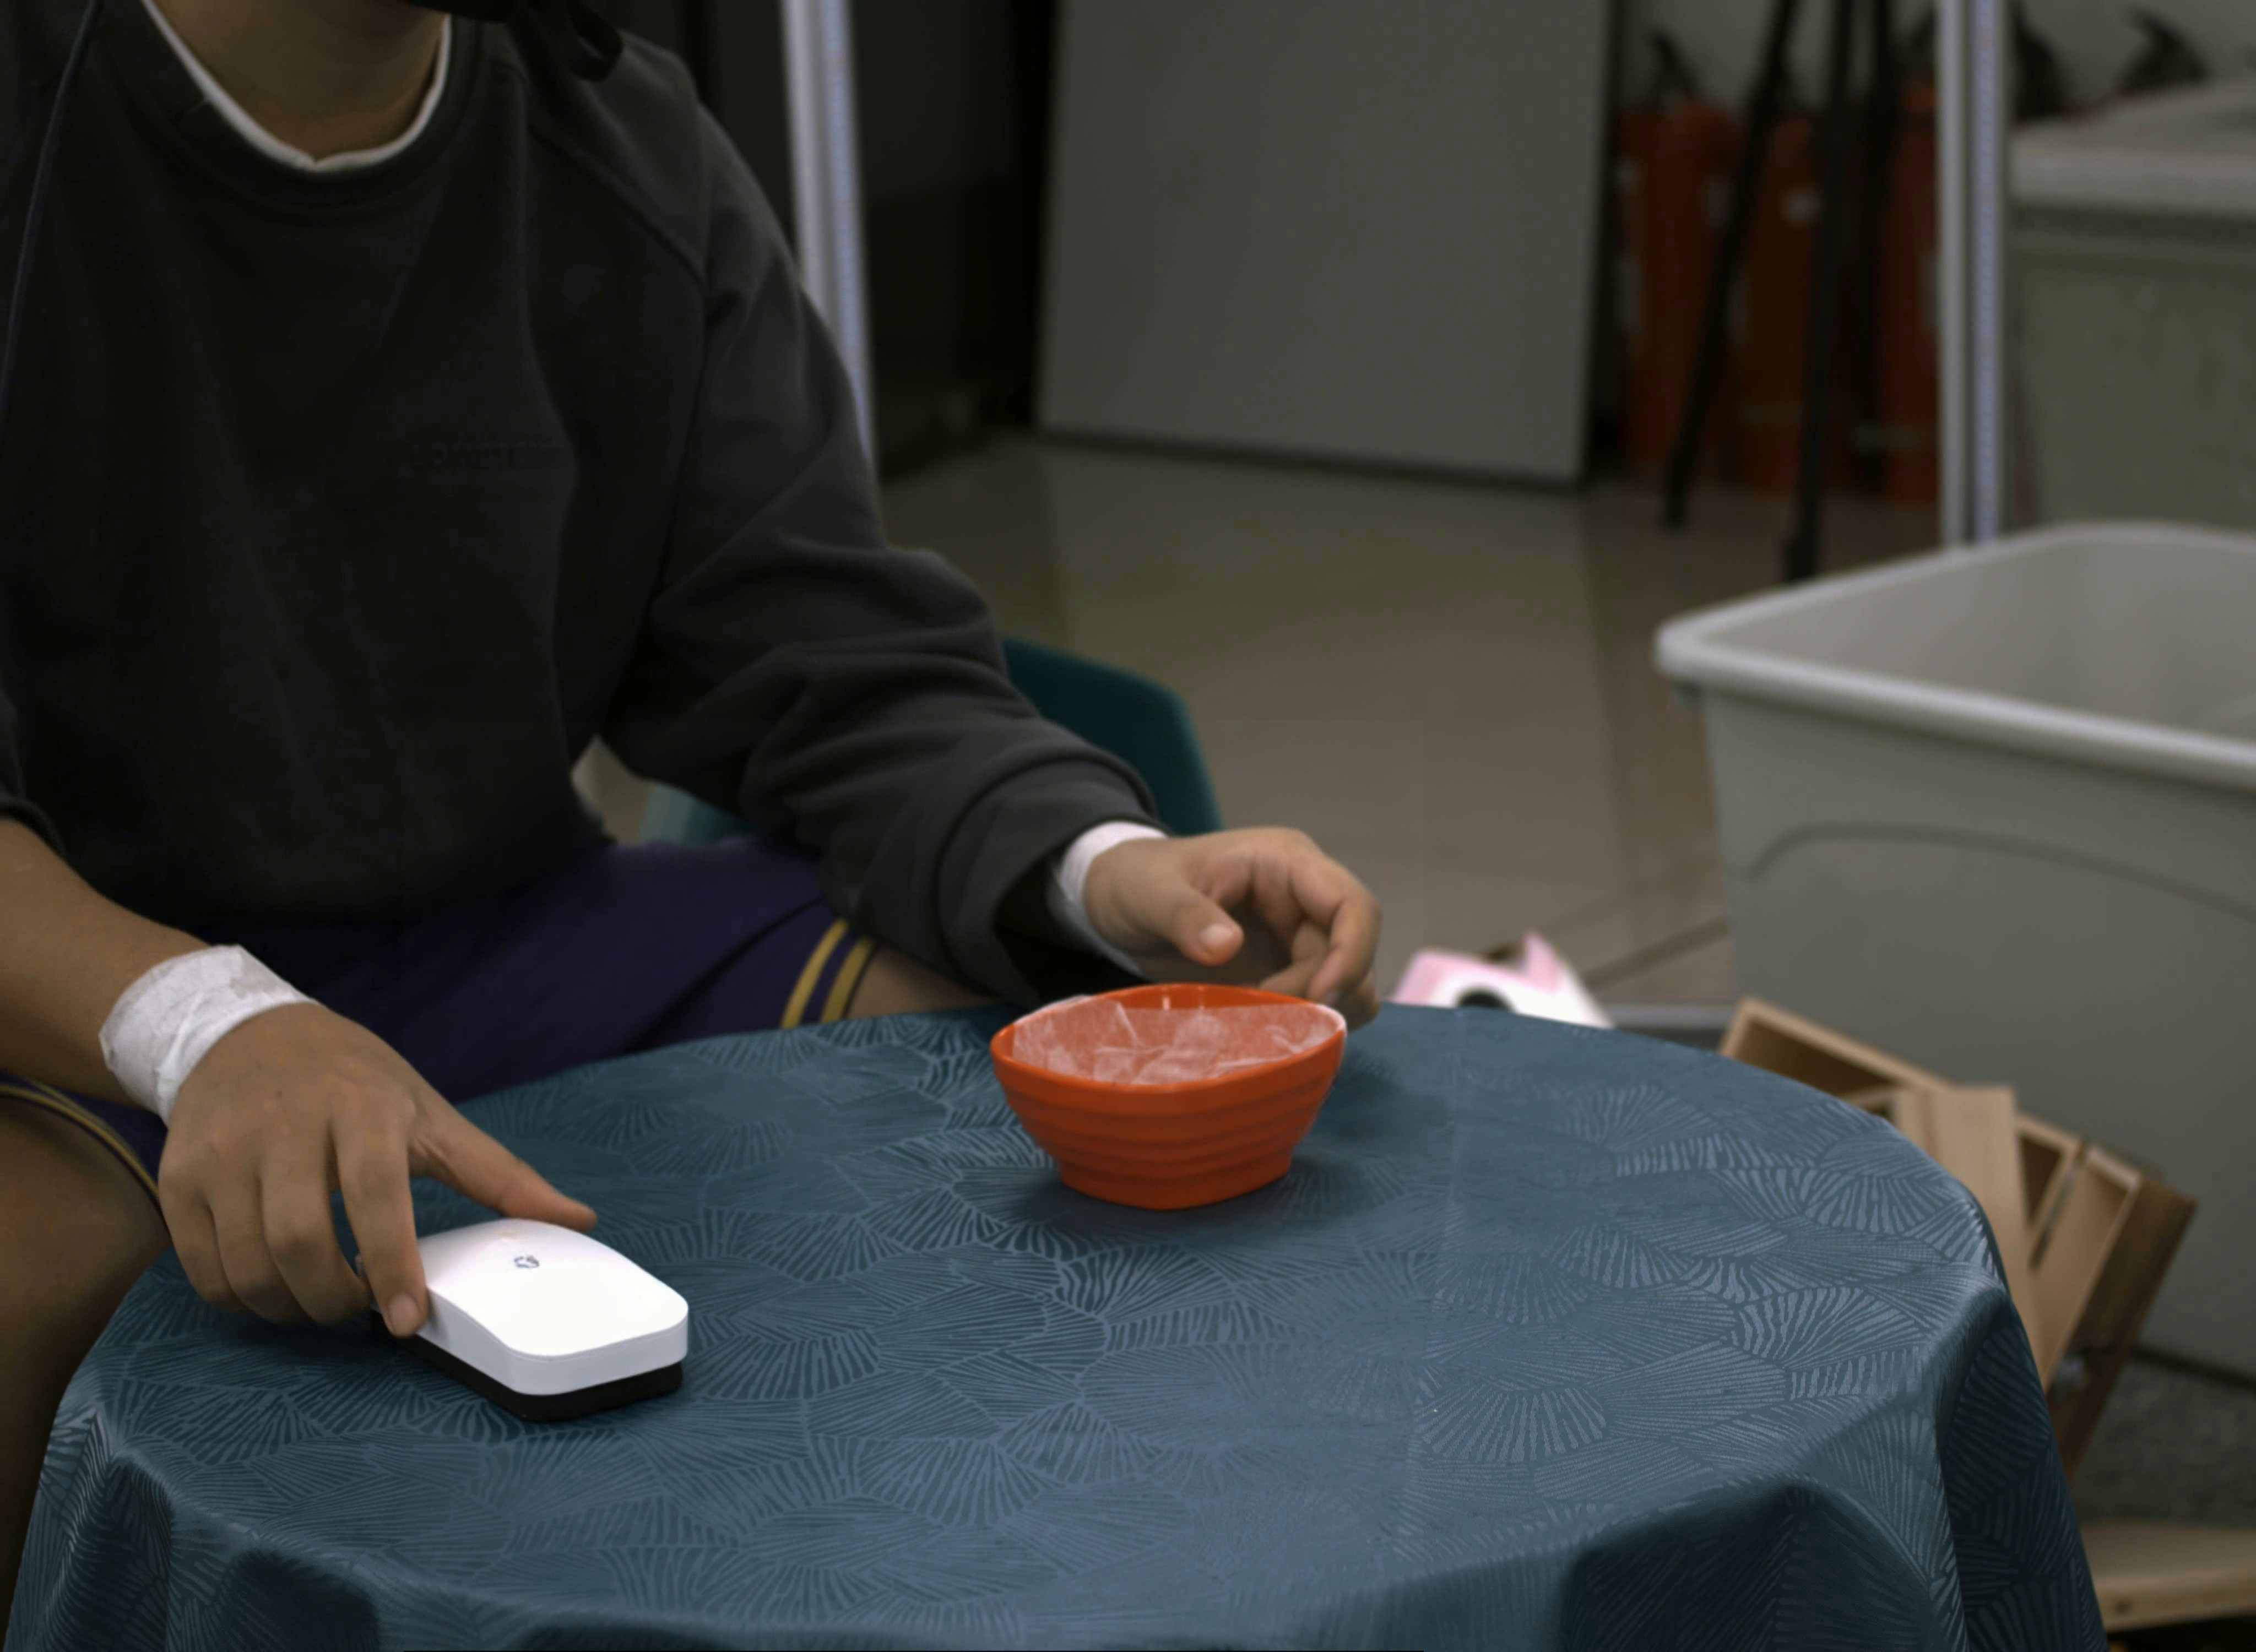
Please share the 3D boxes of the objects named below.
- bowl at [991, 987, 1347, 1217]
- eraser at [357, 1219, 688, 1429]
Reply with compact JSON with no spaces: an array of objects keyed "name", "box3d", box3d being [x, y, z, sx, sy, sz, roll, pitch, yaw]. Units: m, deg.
[{"name":"bowl","box3d":[0.015,0.092,1.775,0.117,0.052,0.119,-5,14,0]},{"name":"eraser","box3d":[-0.183,0.147,1.647,0.062,0.035,0.133,-10,17,-29]}]
